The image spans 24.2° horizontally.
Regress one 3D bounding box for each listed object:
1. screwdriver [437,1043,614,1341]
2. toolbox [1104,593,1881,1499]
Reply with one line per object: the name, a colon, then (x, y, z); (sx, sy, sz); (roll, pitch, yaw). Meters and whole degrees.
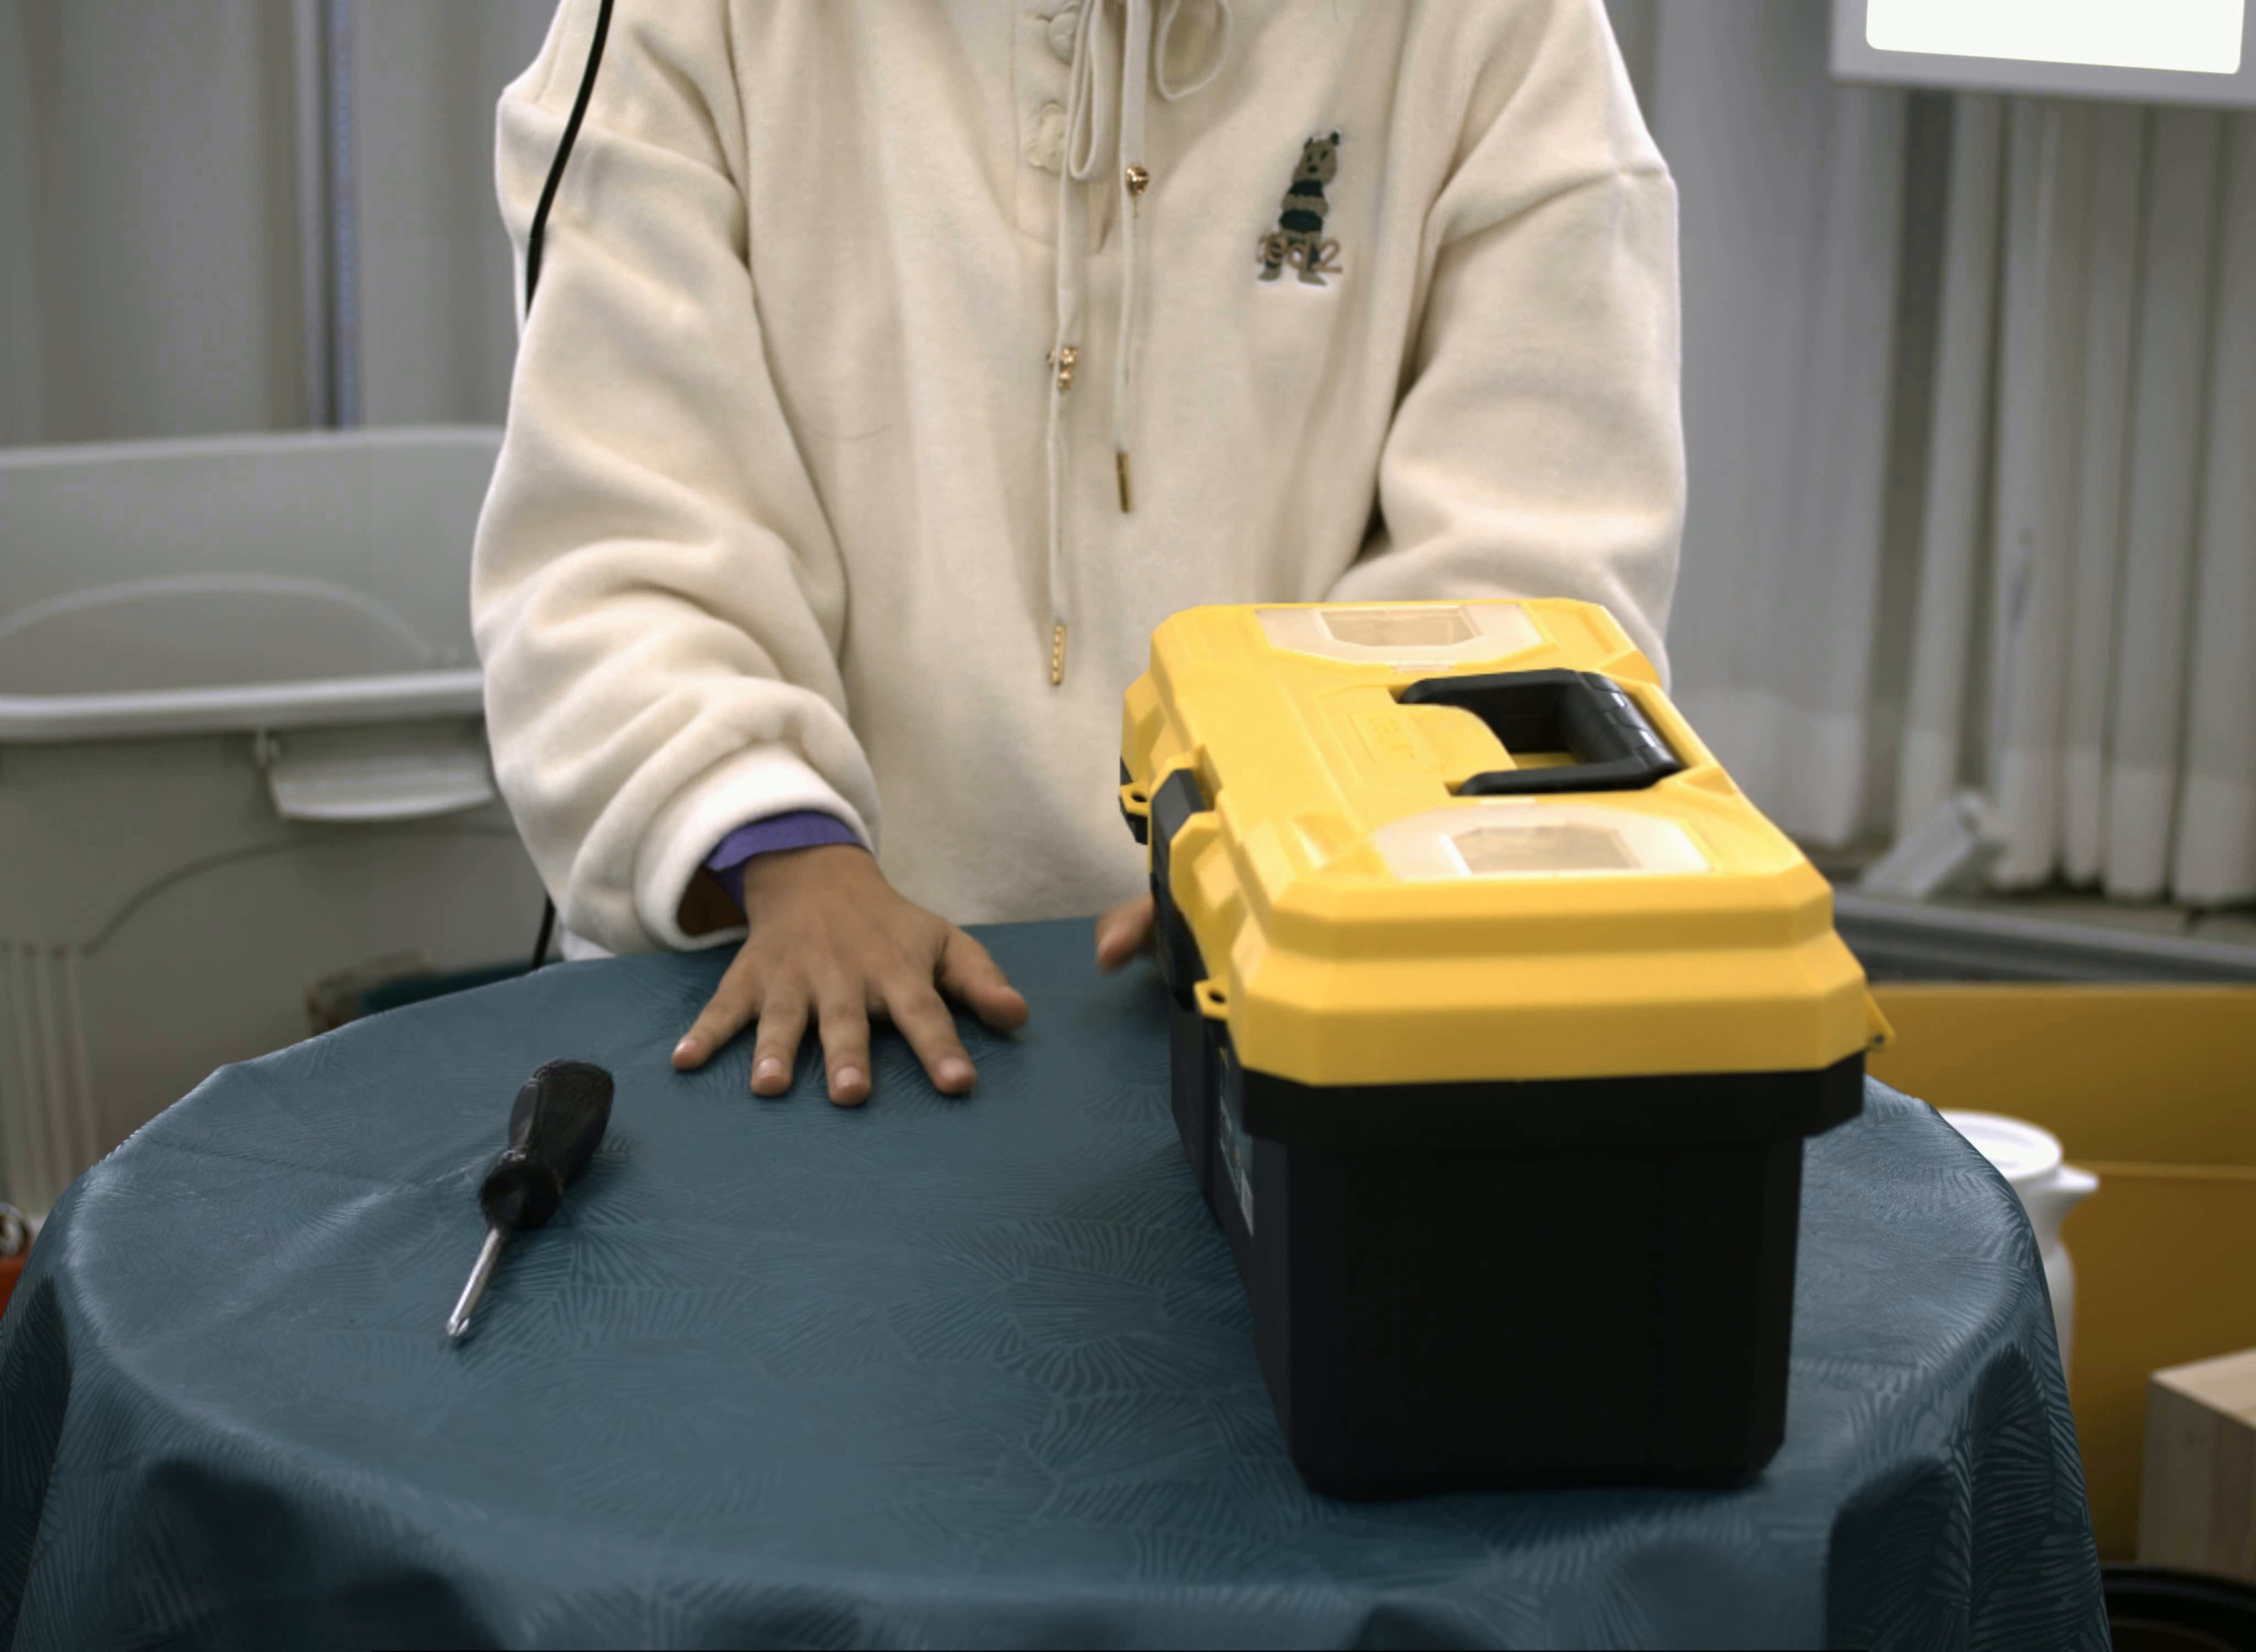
screwdriver: (-0.182, 0.107, 1.573); (0.031, 0.032, 0.195); (2, 17, 5)
toolbox: (0.095, 0.053, 1.511); (0.181, 0.174, 0.349); (-1, 16, -5)
